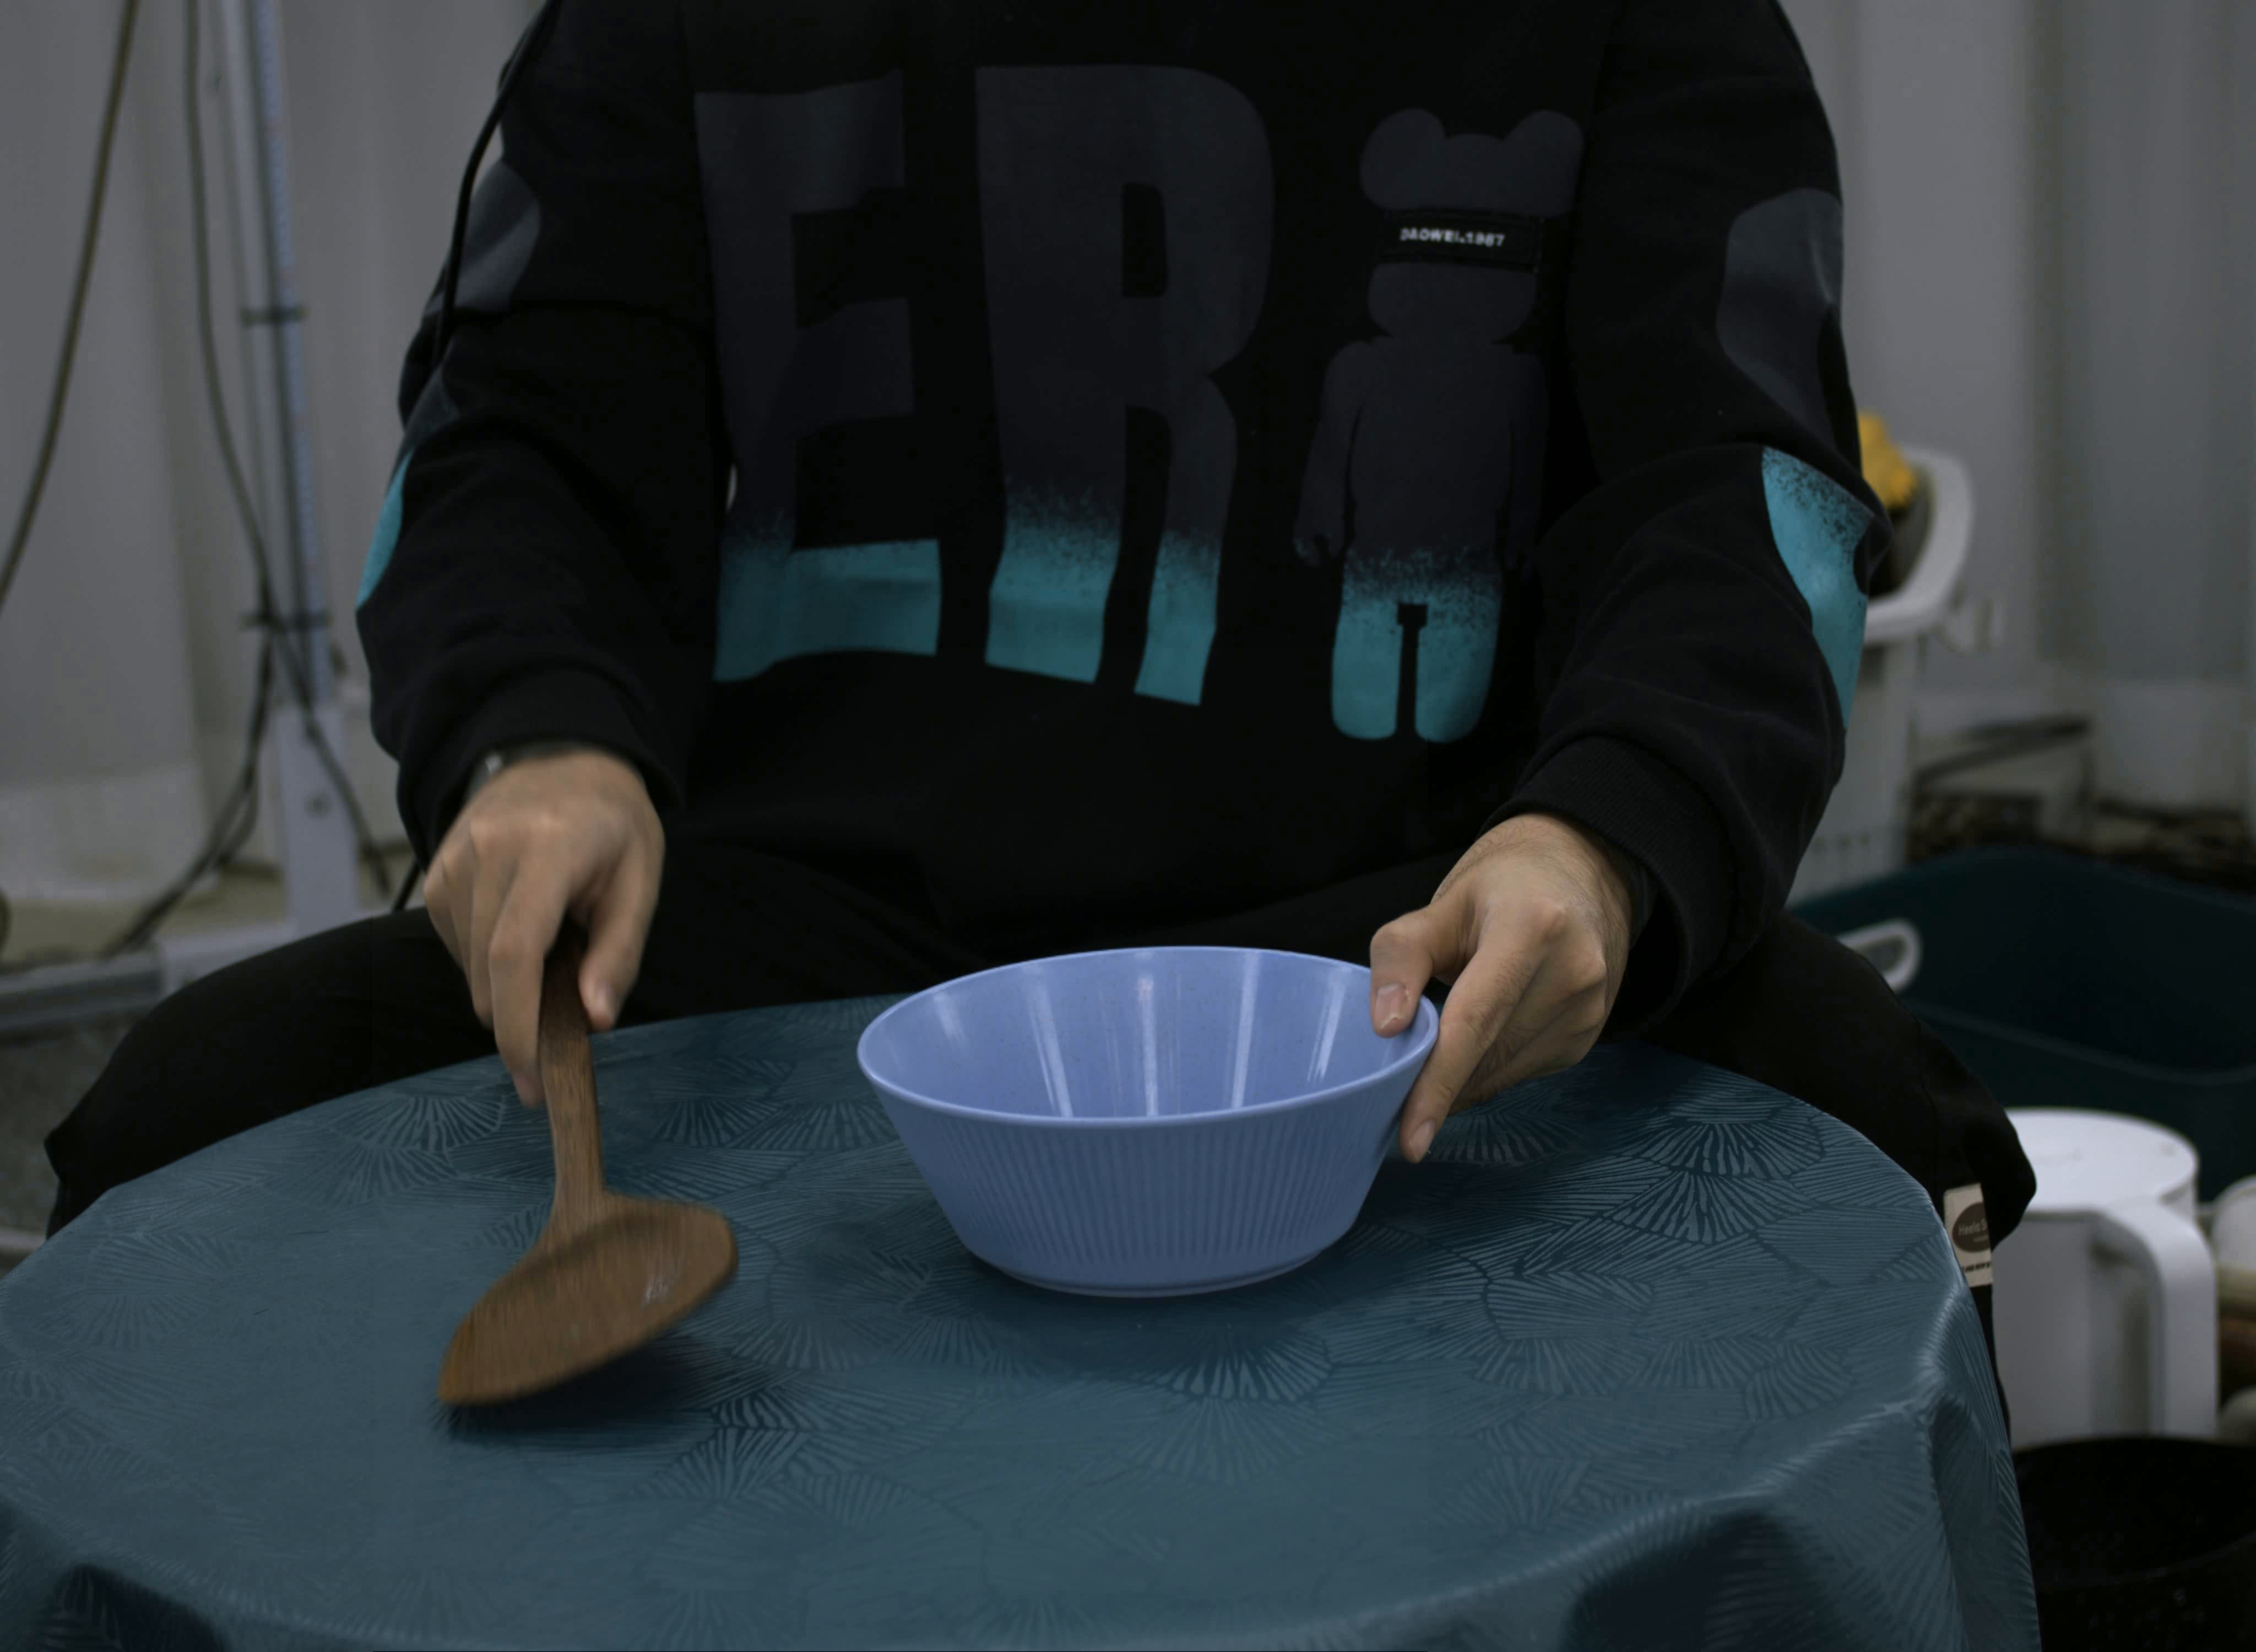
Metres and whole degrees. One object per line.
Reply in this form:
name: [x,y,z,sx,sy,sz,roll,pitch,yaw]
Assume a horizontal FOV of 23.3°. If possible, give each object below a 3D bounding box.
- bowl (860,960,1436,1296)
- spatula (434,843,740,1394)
bowl: [0.007,0.094,1.659,0.175,0.070,0.177,-2,13,0]
spatula: [-0.175,0.079,1.706,0.096,0.015,0.390,-25,23,2]
